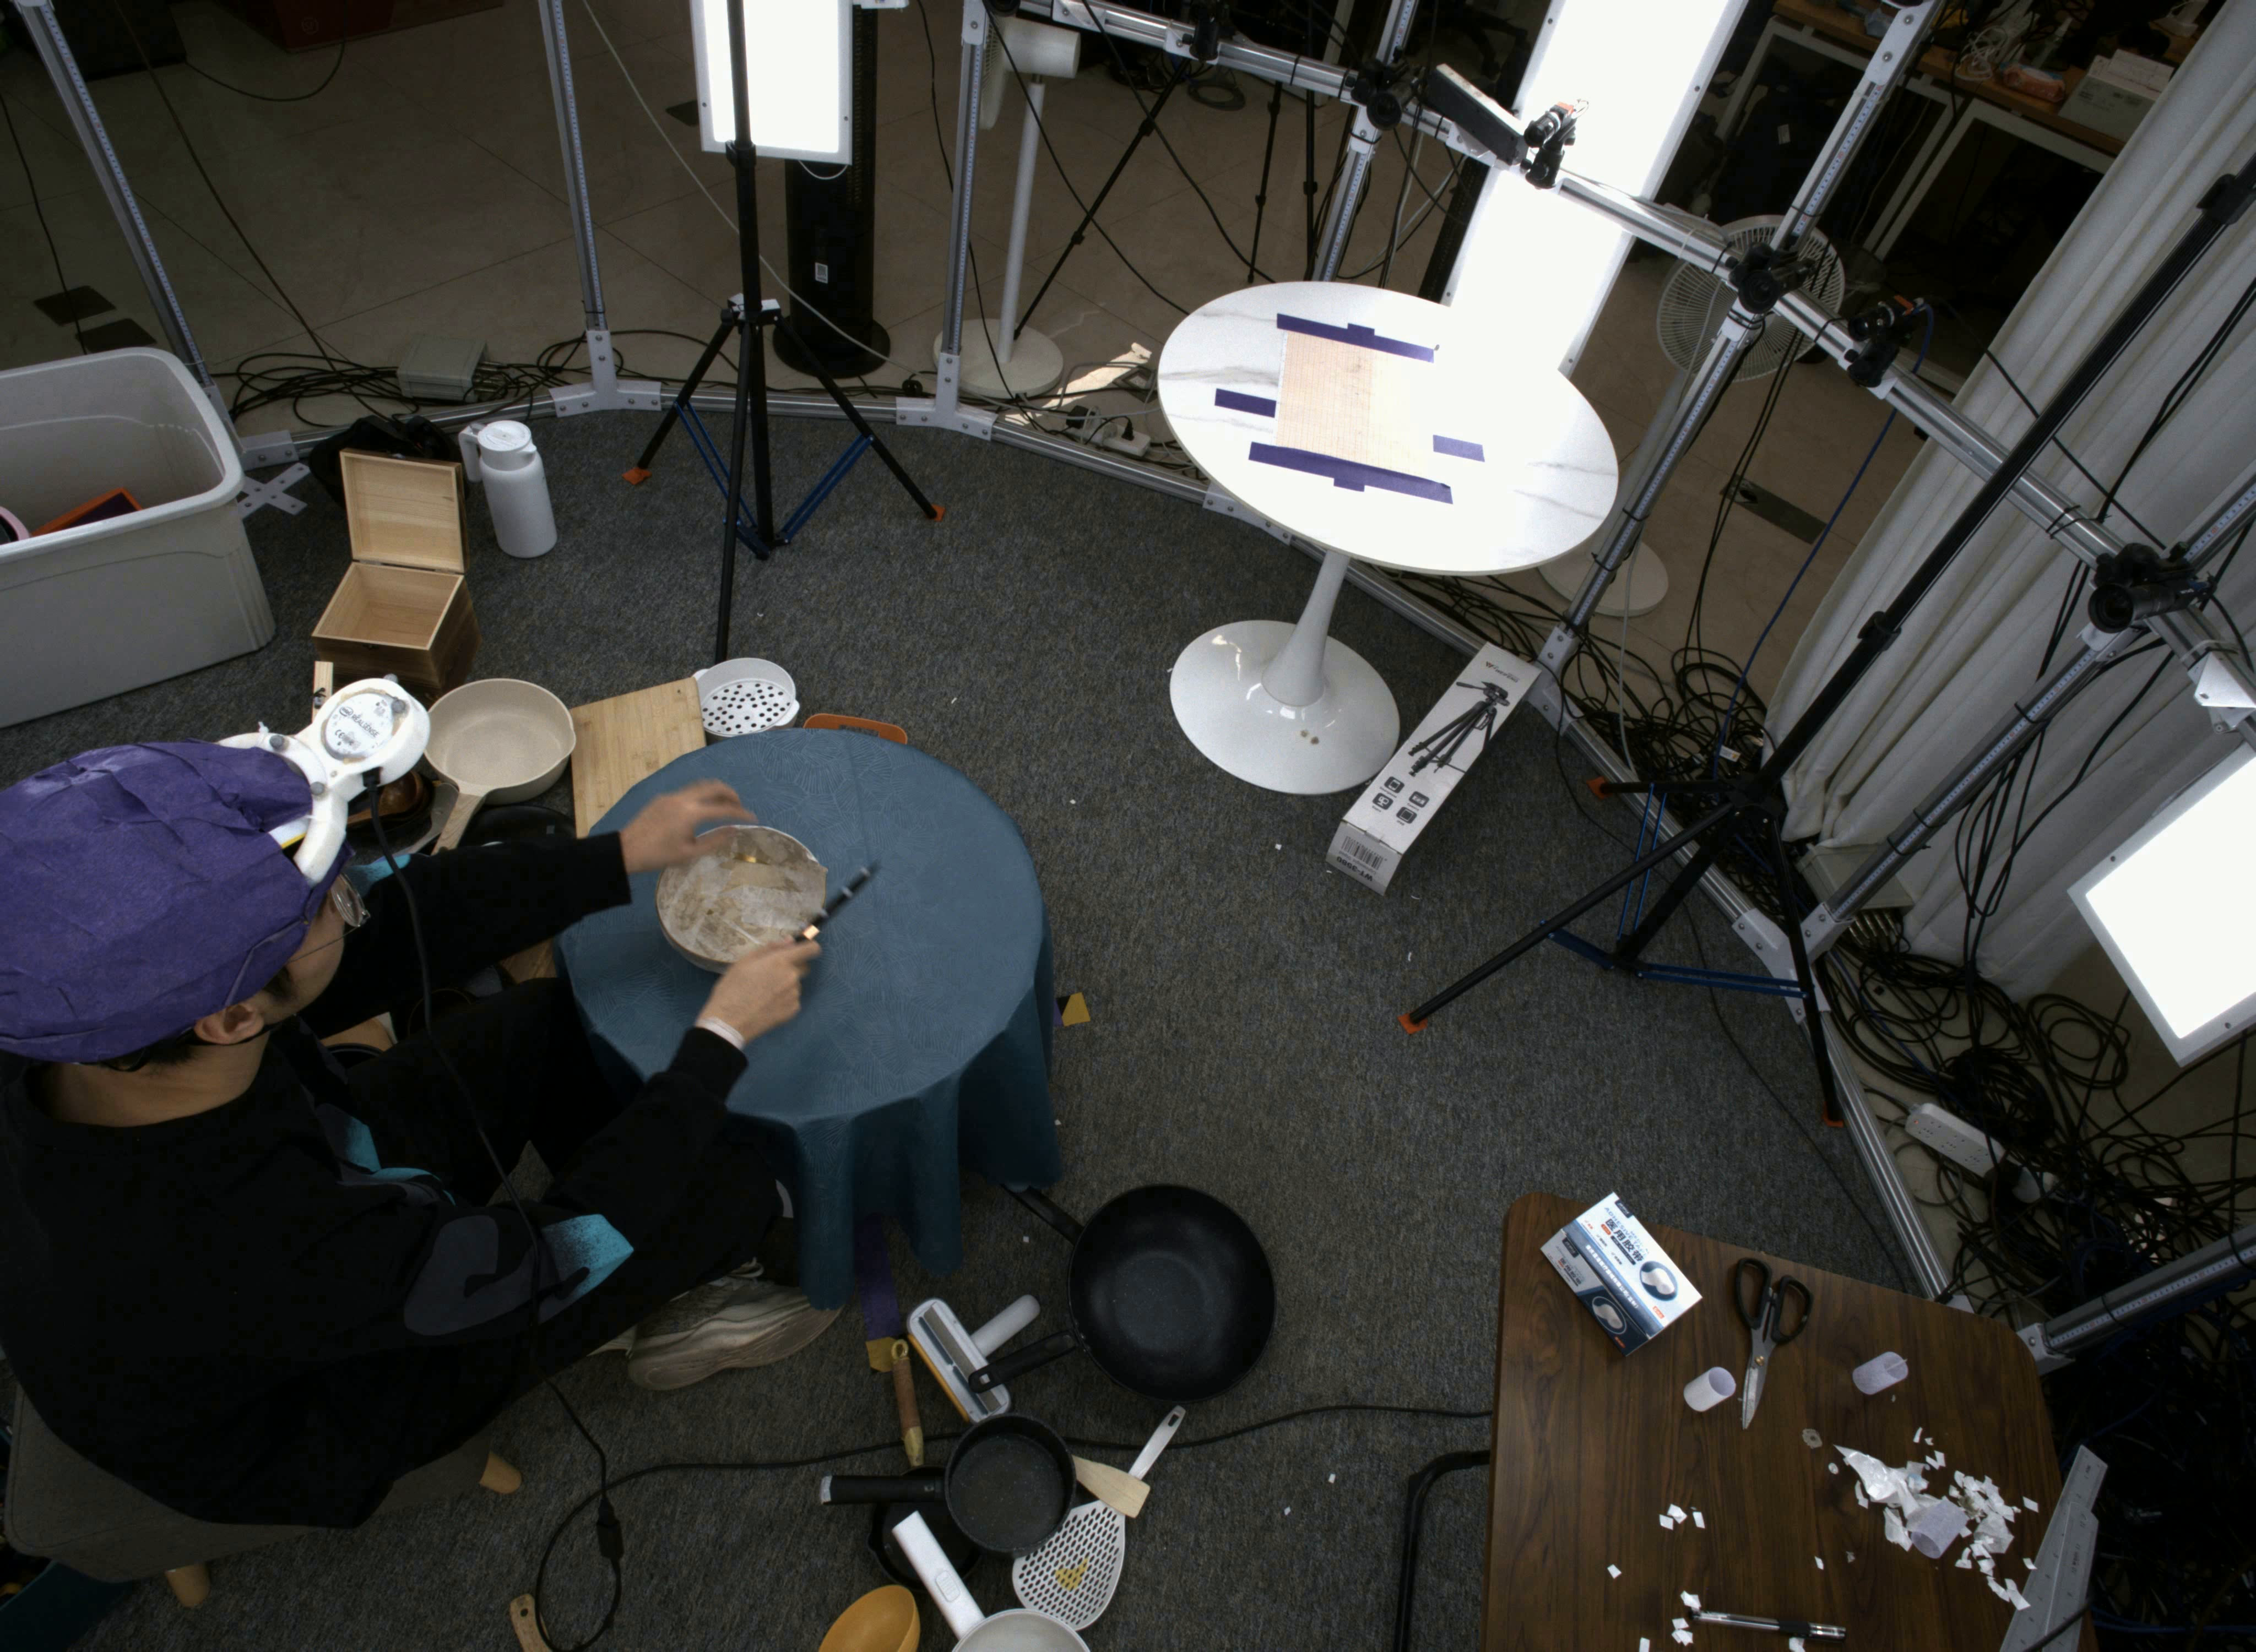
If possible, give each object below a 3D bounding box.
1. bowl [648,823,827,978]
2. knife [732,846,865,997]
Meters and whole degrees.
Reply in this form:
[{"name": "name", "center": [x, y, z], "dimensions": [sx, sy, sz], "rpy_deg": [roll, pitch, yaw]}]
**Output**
[{"name": "bowl", "center": [-0.470, 0.105, 1.561], "dimensions": [0.214, 0.096, 0.211], "rpy_deg": [9, 52, -10]}, {"name": "knife", "center": [-0.362, 0.101, 1.444], "dimensions": [0.025, 0.018, 0.225], "rpy_deg": [19, 56, 31]}]
